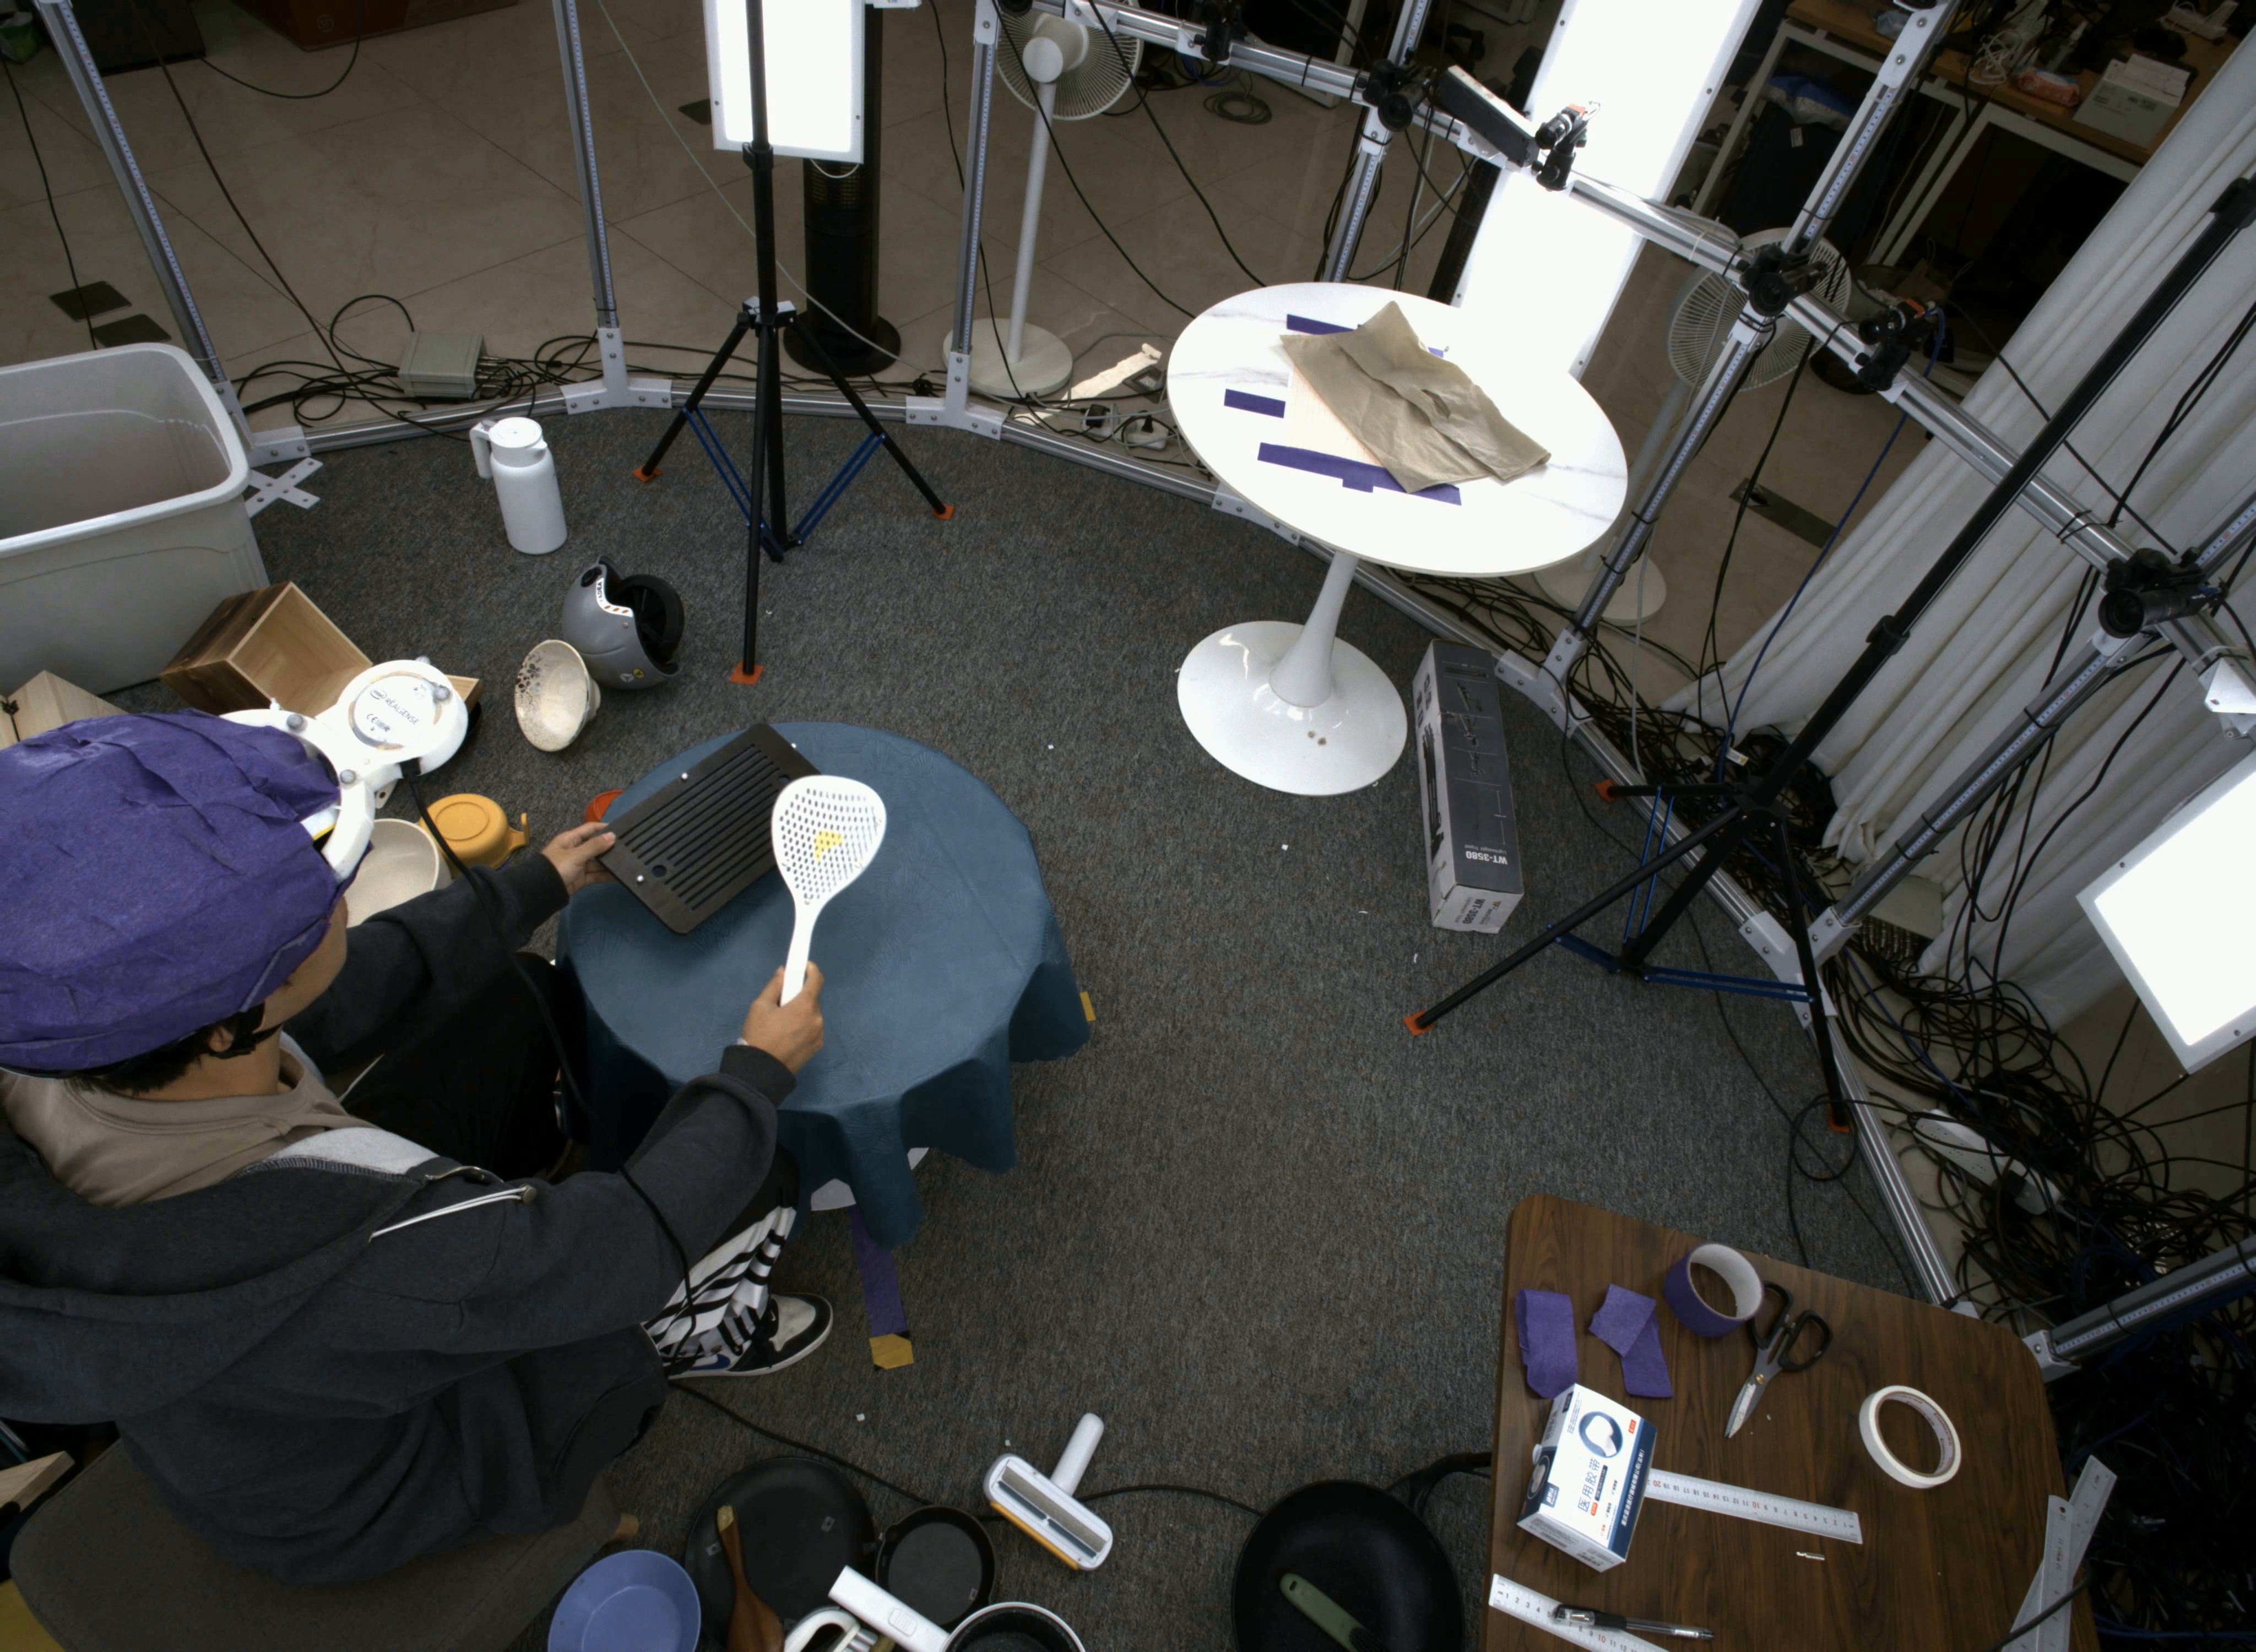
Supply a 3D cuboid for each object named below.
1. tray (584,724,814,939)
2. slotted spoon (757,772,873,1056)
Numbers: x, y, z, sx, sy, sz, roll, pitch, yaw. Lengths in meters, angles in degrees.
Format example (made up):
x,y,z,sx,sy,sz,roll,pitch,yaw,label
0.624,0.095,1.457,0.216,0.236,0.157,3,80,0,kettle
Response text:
x,y,z,sx,sy,sz,roll,pitch,yaw,label
-0.525,0.000,1.632,0.169,0.019,0.305,43,50,2,tray
-0.384,0.094,1.524,0.136,0.051,0.343,7,60,-8,slotted spoon
